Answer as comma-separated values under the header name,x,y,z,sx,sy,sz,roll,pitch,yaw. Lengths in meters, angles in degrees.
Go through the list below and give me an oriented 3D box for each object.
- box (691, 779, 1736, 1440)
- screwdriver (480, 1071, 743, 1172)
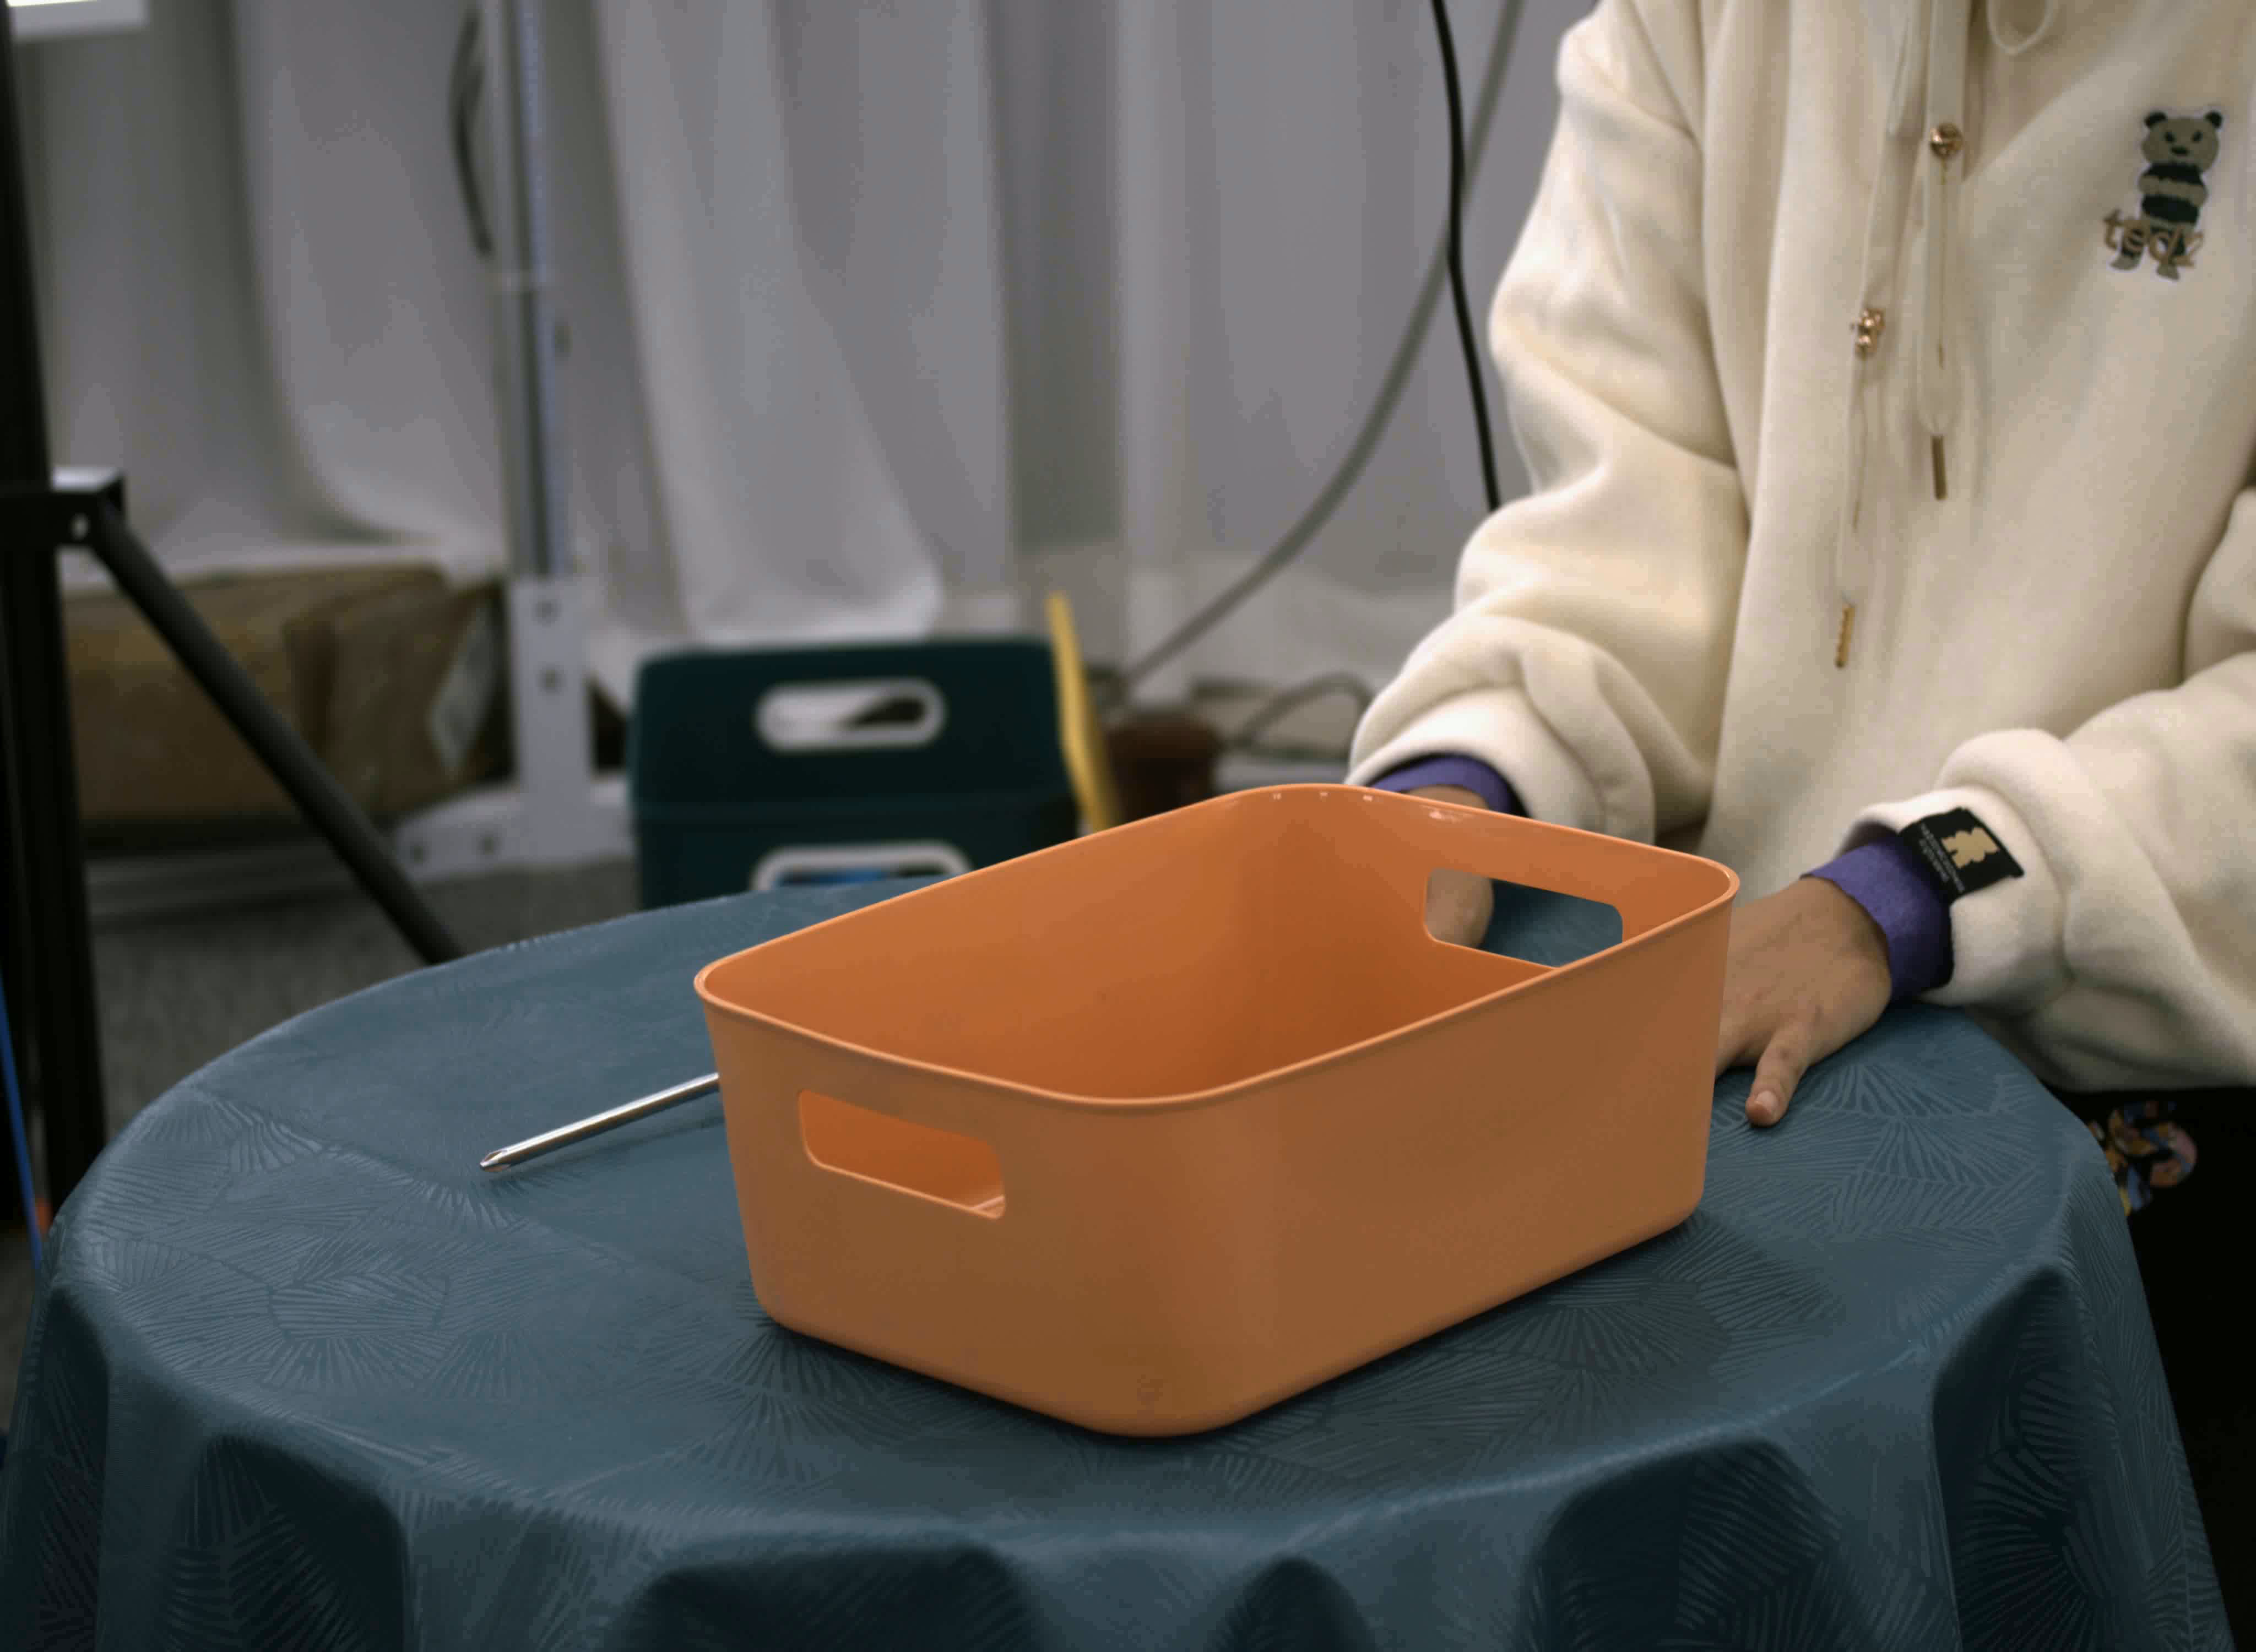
name,x,y,z,sx,sy,sz,roll,pitch,yaw
box,0.030,0.075,1.477,0.204,0.102,0.267,12,21,43
screwdriver,-0.122,0.078,1.652,0.192,0.031,0.032,-19,23,-33
